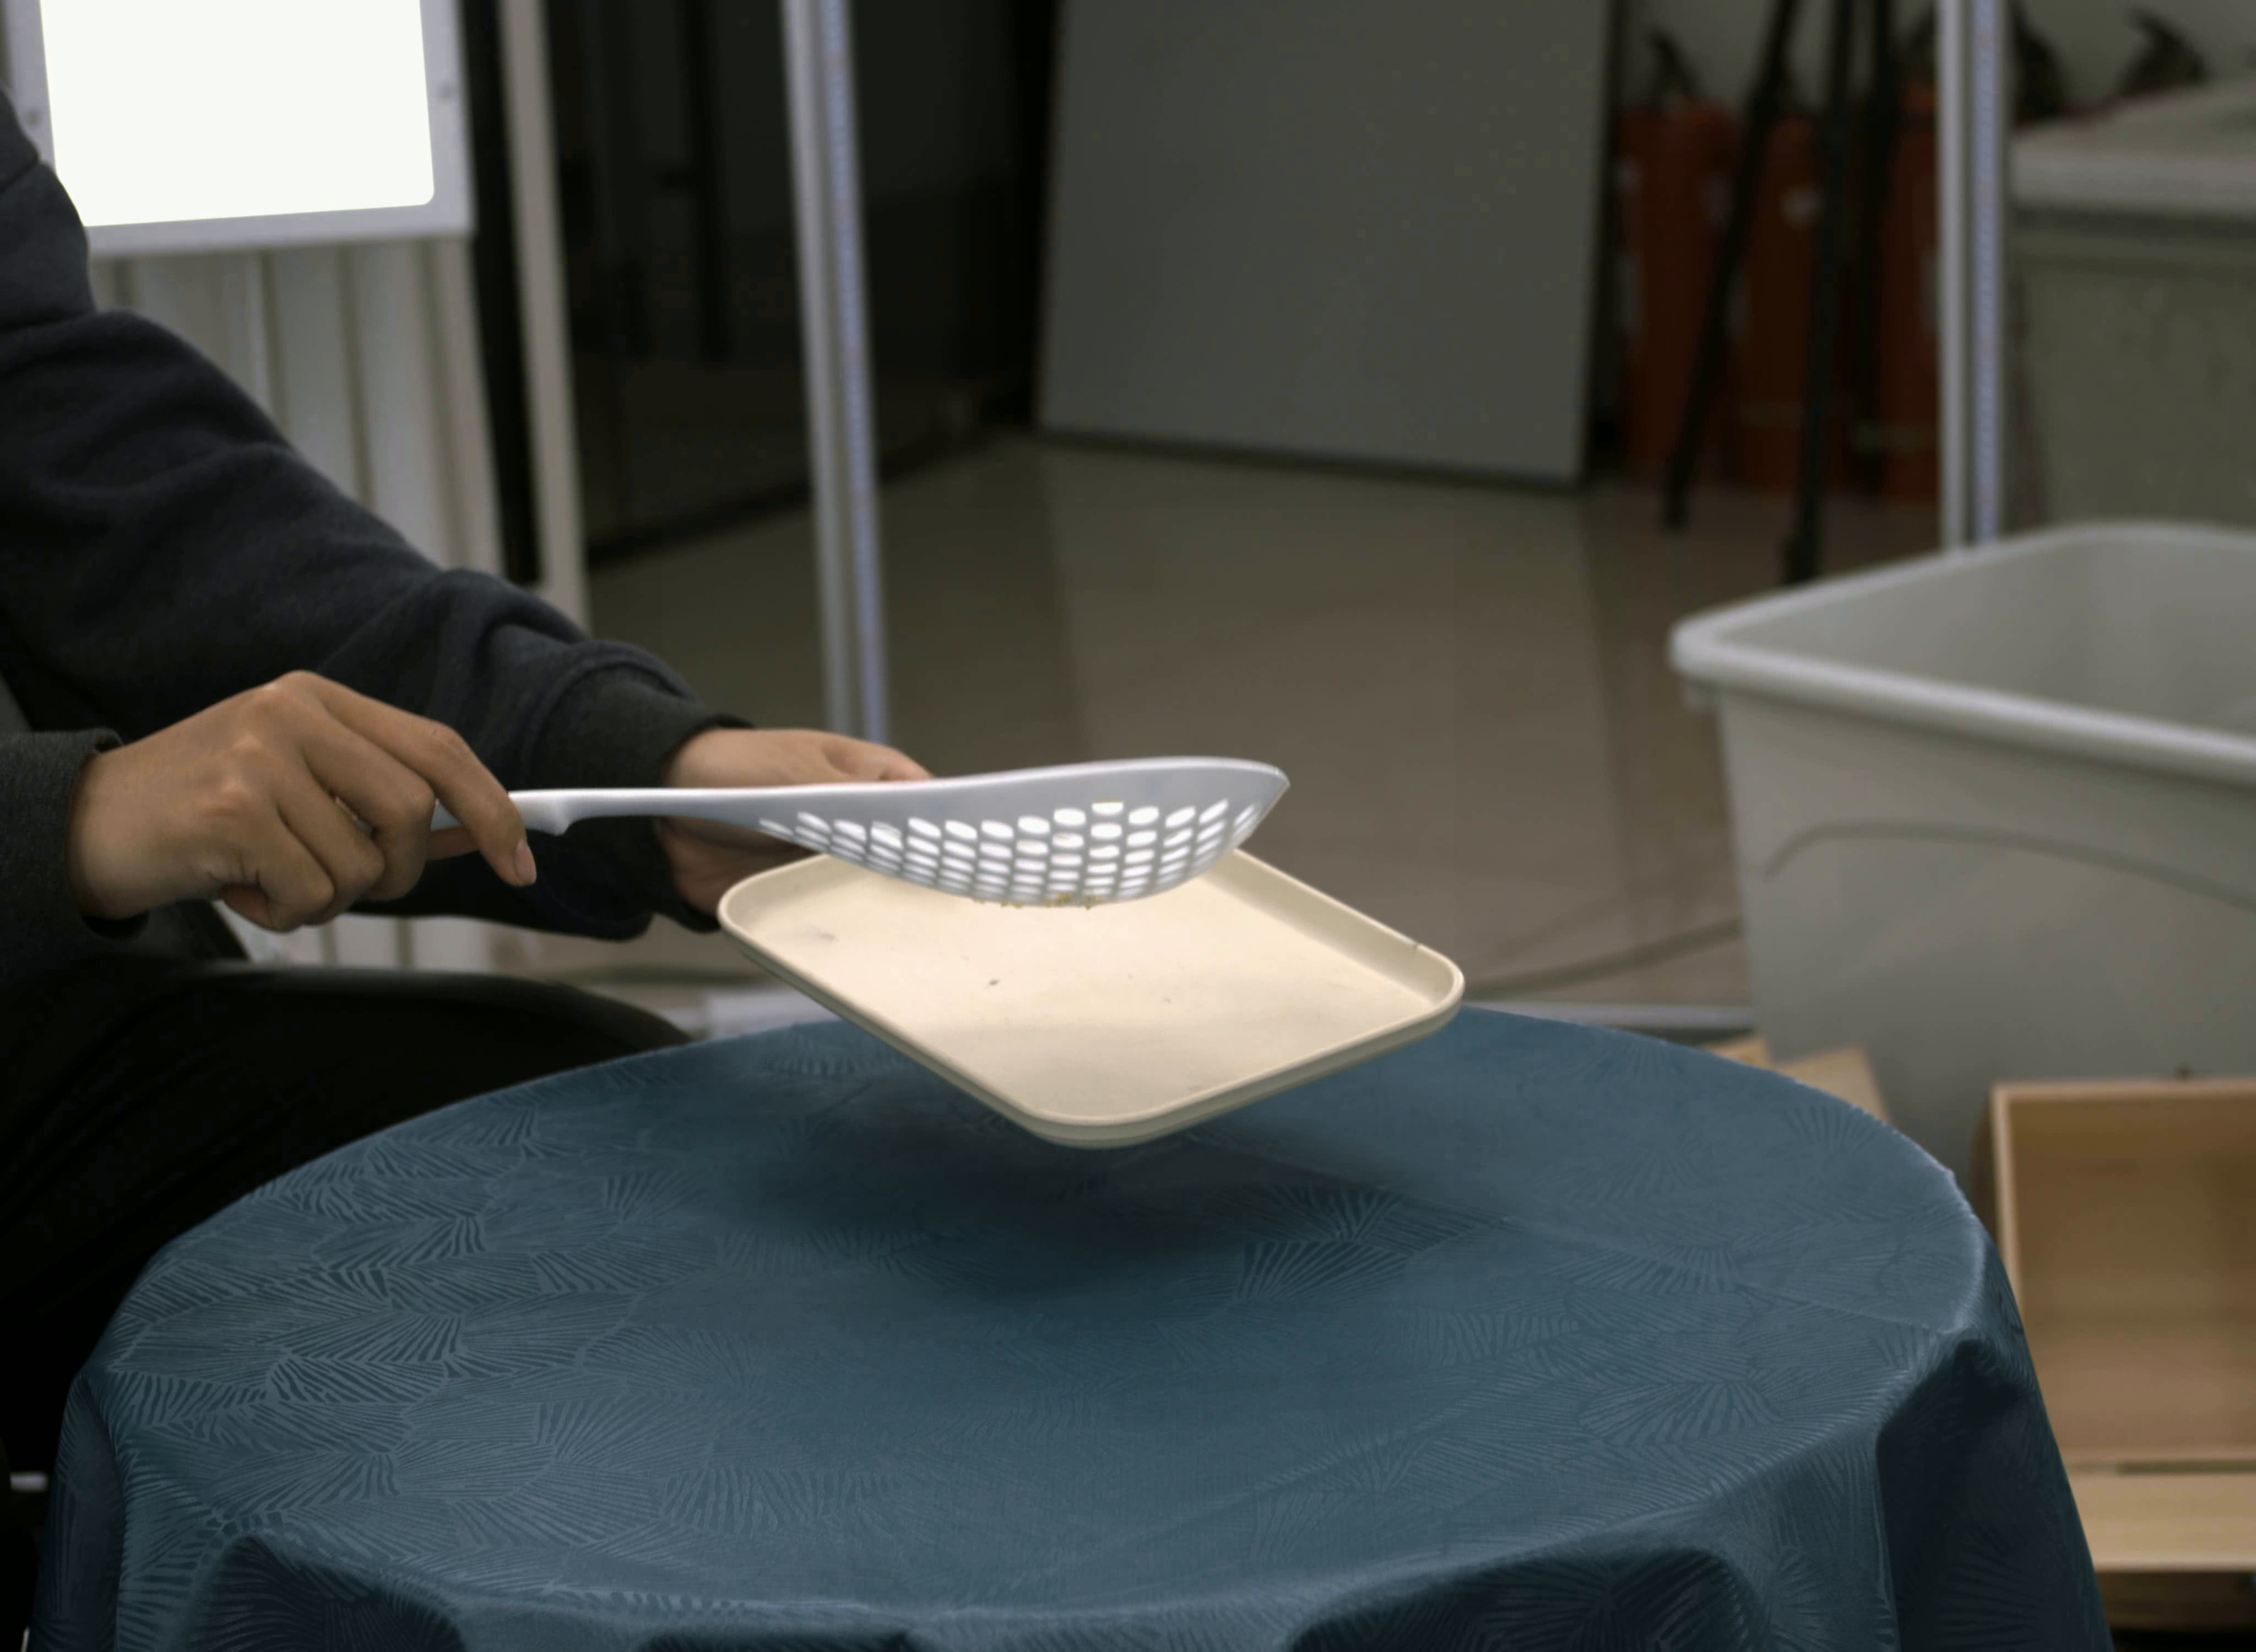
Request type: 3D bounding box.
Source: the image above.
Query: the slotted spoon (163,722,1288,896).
[{"bbox_3d":[-0.121,-0.002,1.661,0.342,0.051,0.137,2,-8,-9],"label":"slotted spoon"}]

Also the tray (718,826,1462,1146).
[{"bbox_3d":[-0.015,0.044,1.788,0.168,0.017,0.242,-19,27,-29],"label":"tray"}]
